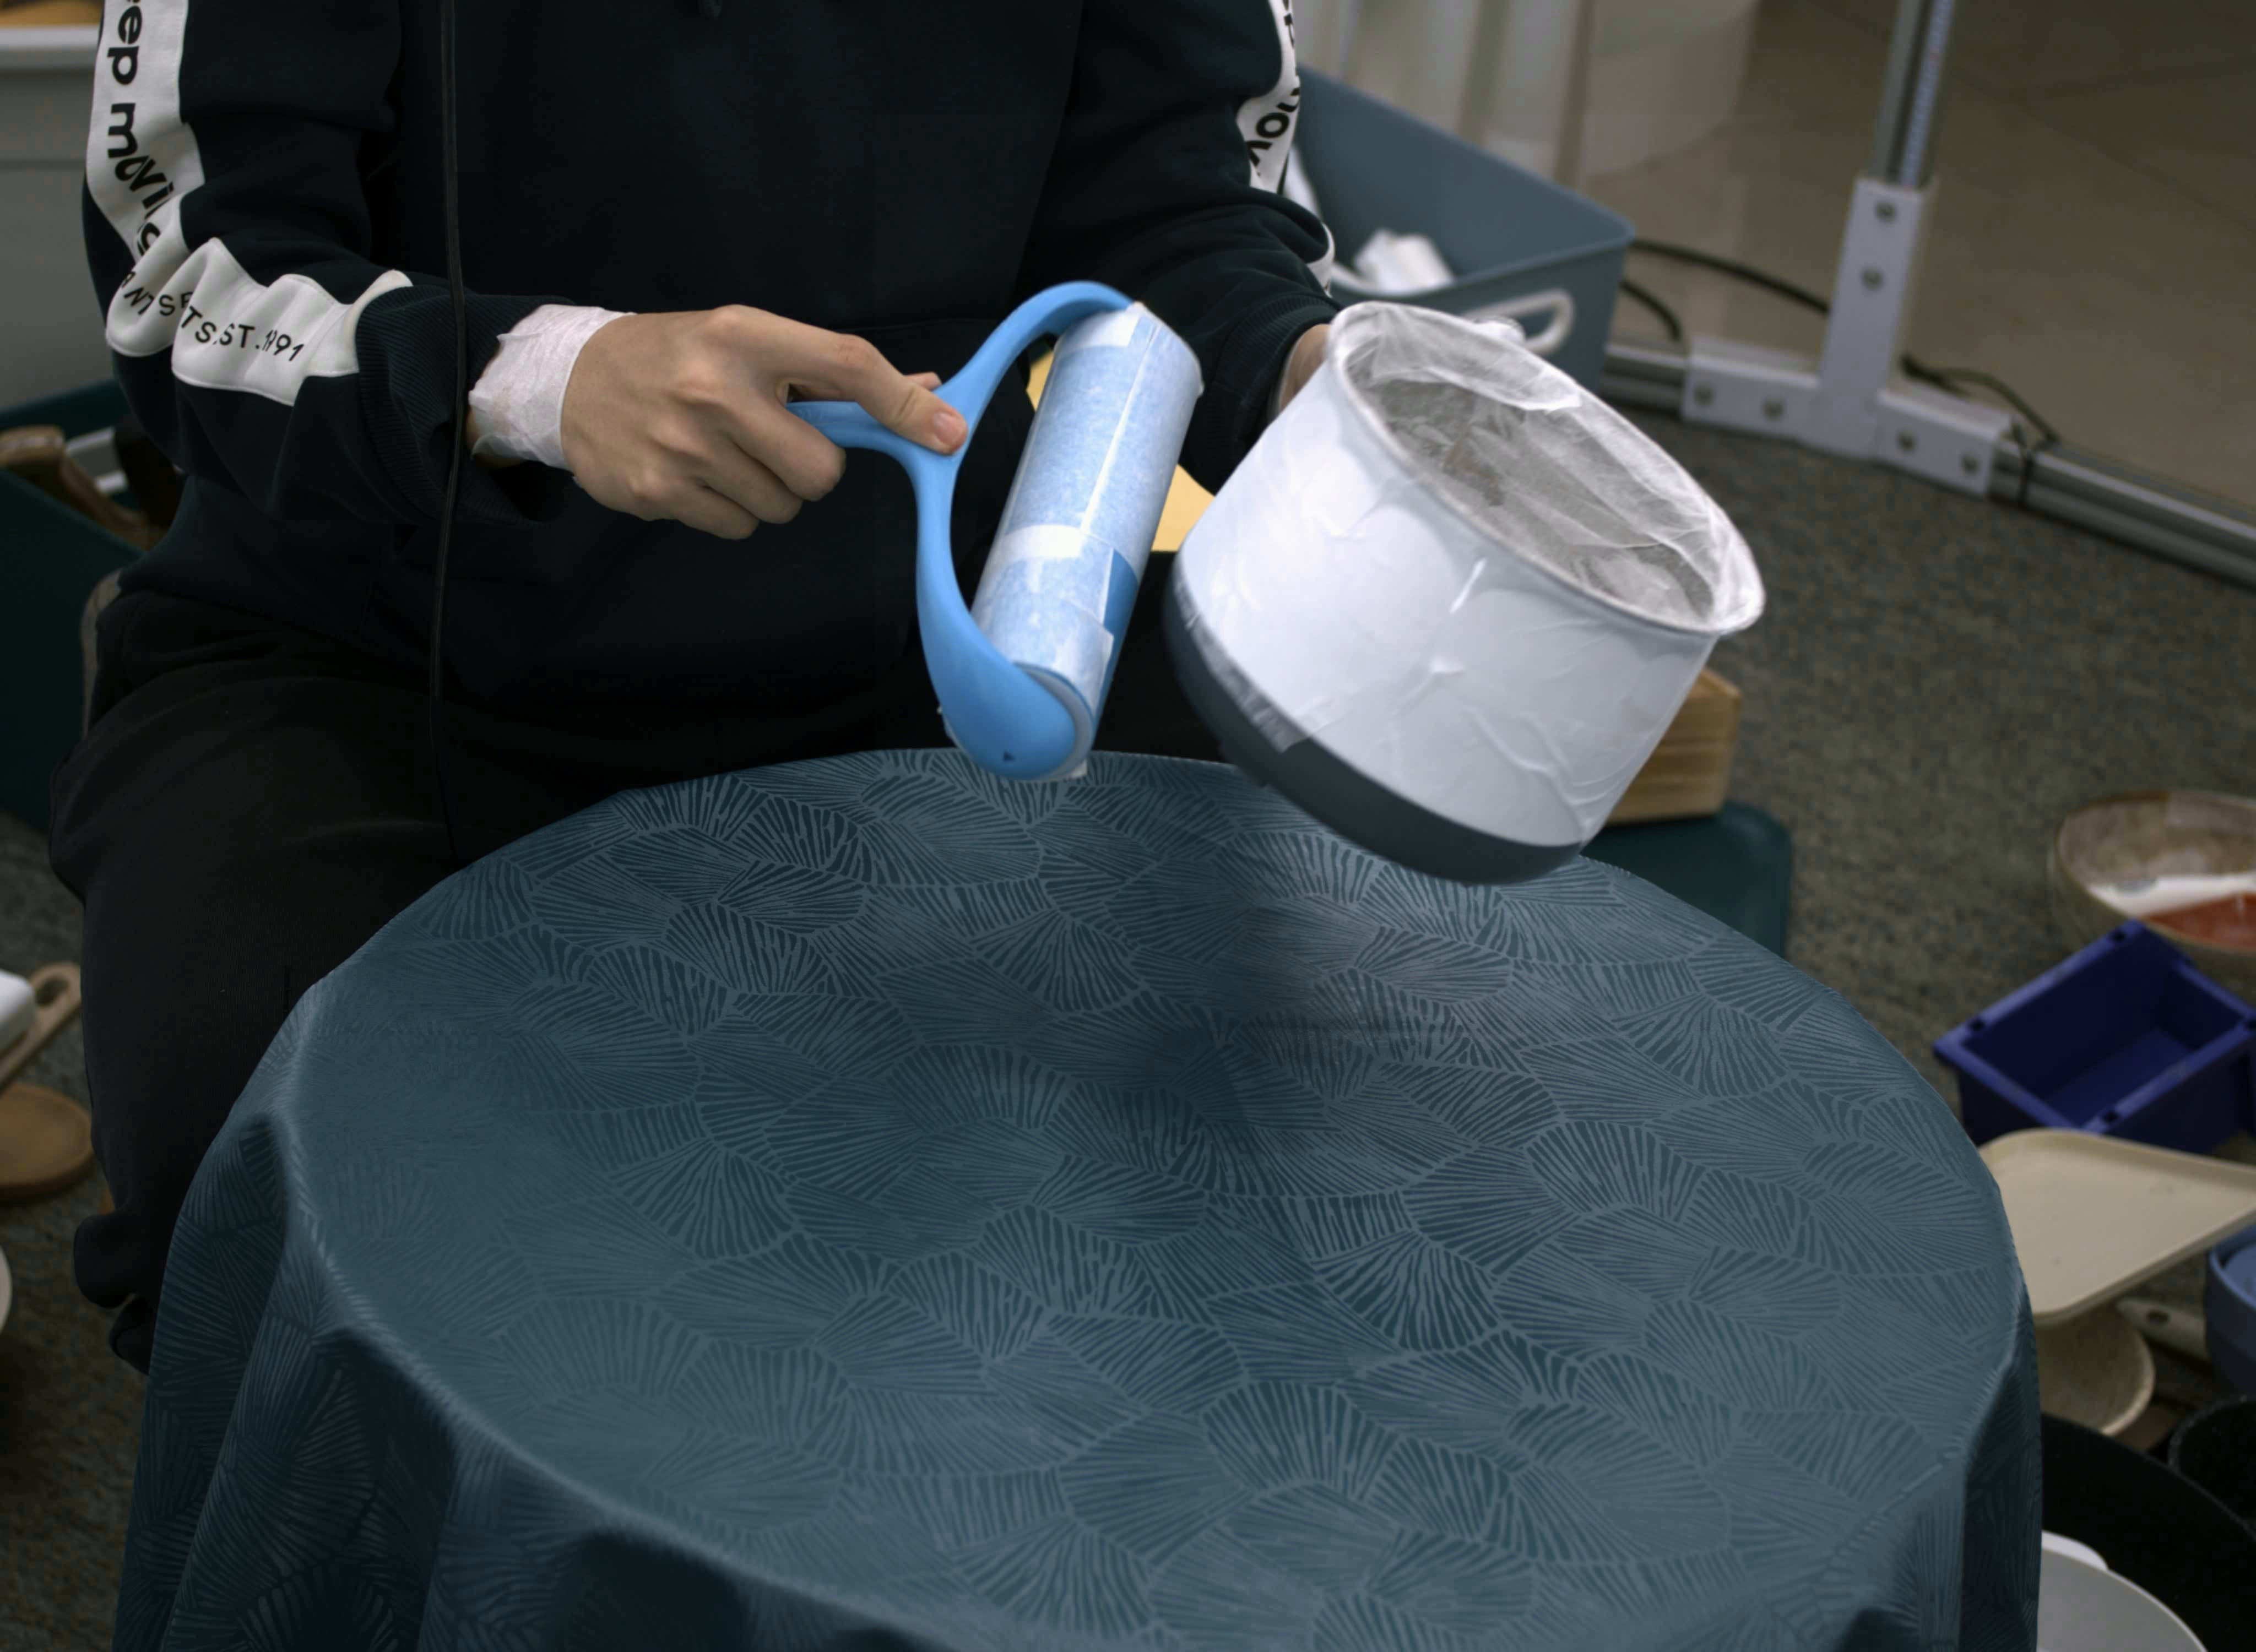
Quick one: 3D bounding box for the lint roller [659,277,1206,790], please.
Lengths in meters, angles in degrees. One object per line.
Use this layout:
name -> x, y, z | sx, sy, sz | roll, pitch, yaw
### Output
lint roller -> -0.072, -0.114, 1.843 | 0.180, 0.067, 0.230 | 13, 47, -2

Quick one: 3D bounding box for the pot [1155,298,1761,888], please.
pot -> 0.106, -0.091, 1.853 | 0.177, 0.136, 0.235 | 25, 28, -20
